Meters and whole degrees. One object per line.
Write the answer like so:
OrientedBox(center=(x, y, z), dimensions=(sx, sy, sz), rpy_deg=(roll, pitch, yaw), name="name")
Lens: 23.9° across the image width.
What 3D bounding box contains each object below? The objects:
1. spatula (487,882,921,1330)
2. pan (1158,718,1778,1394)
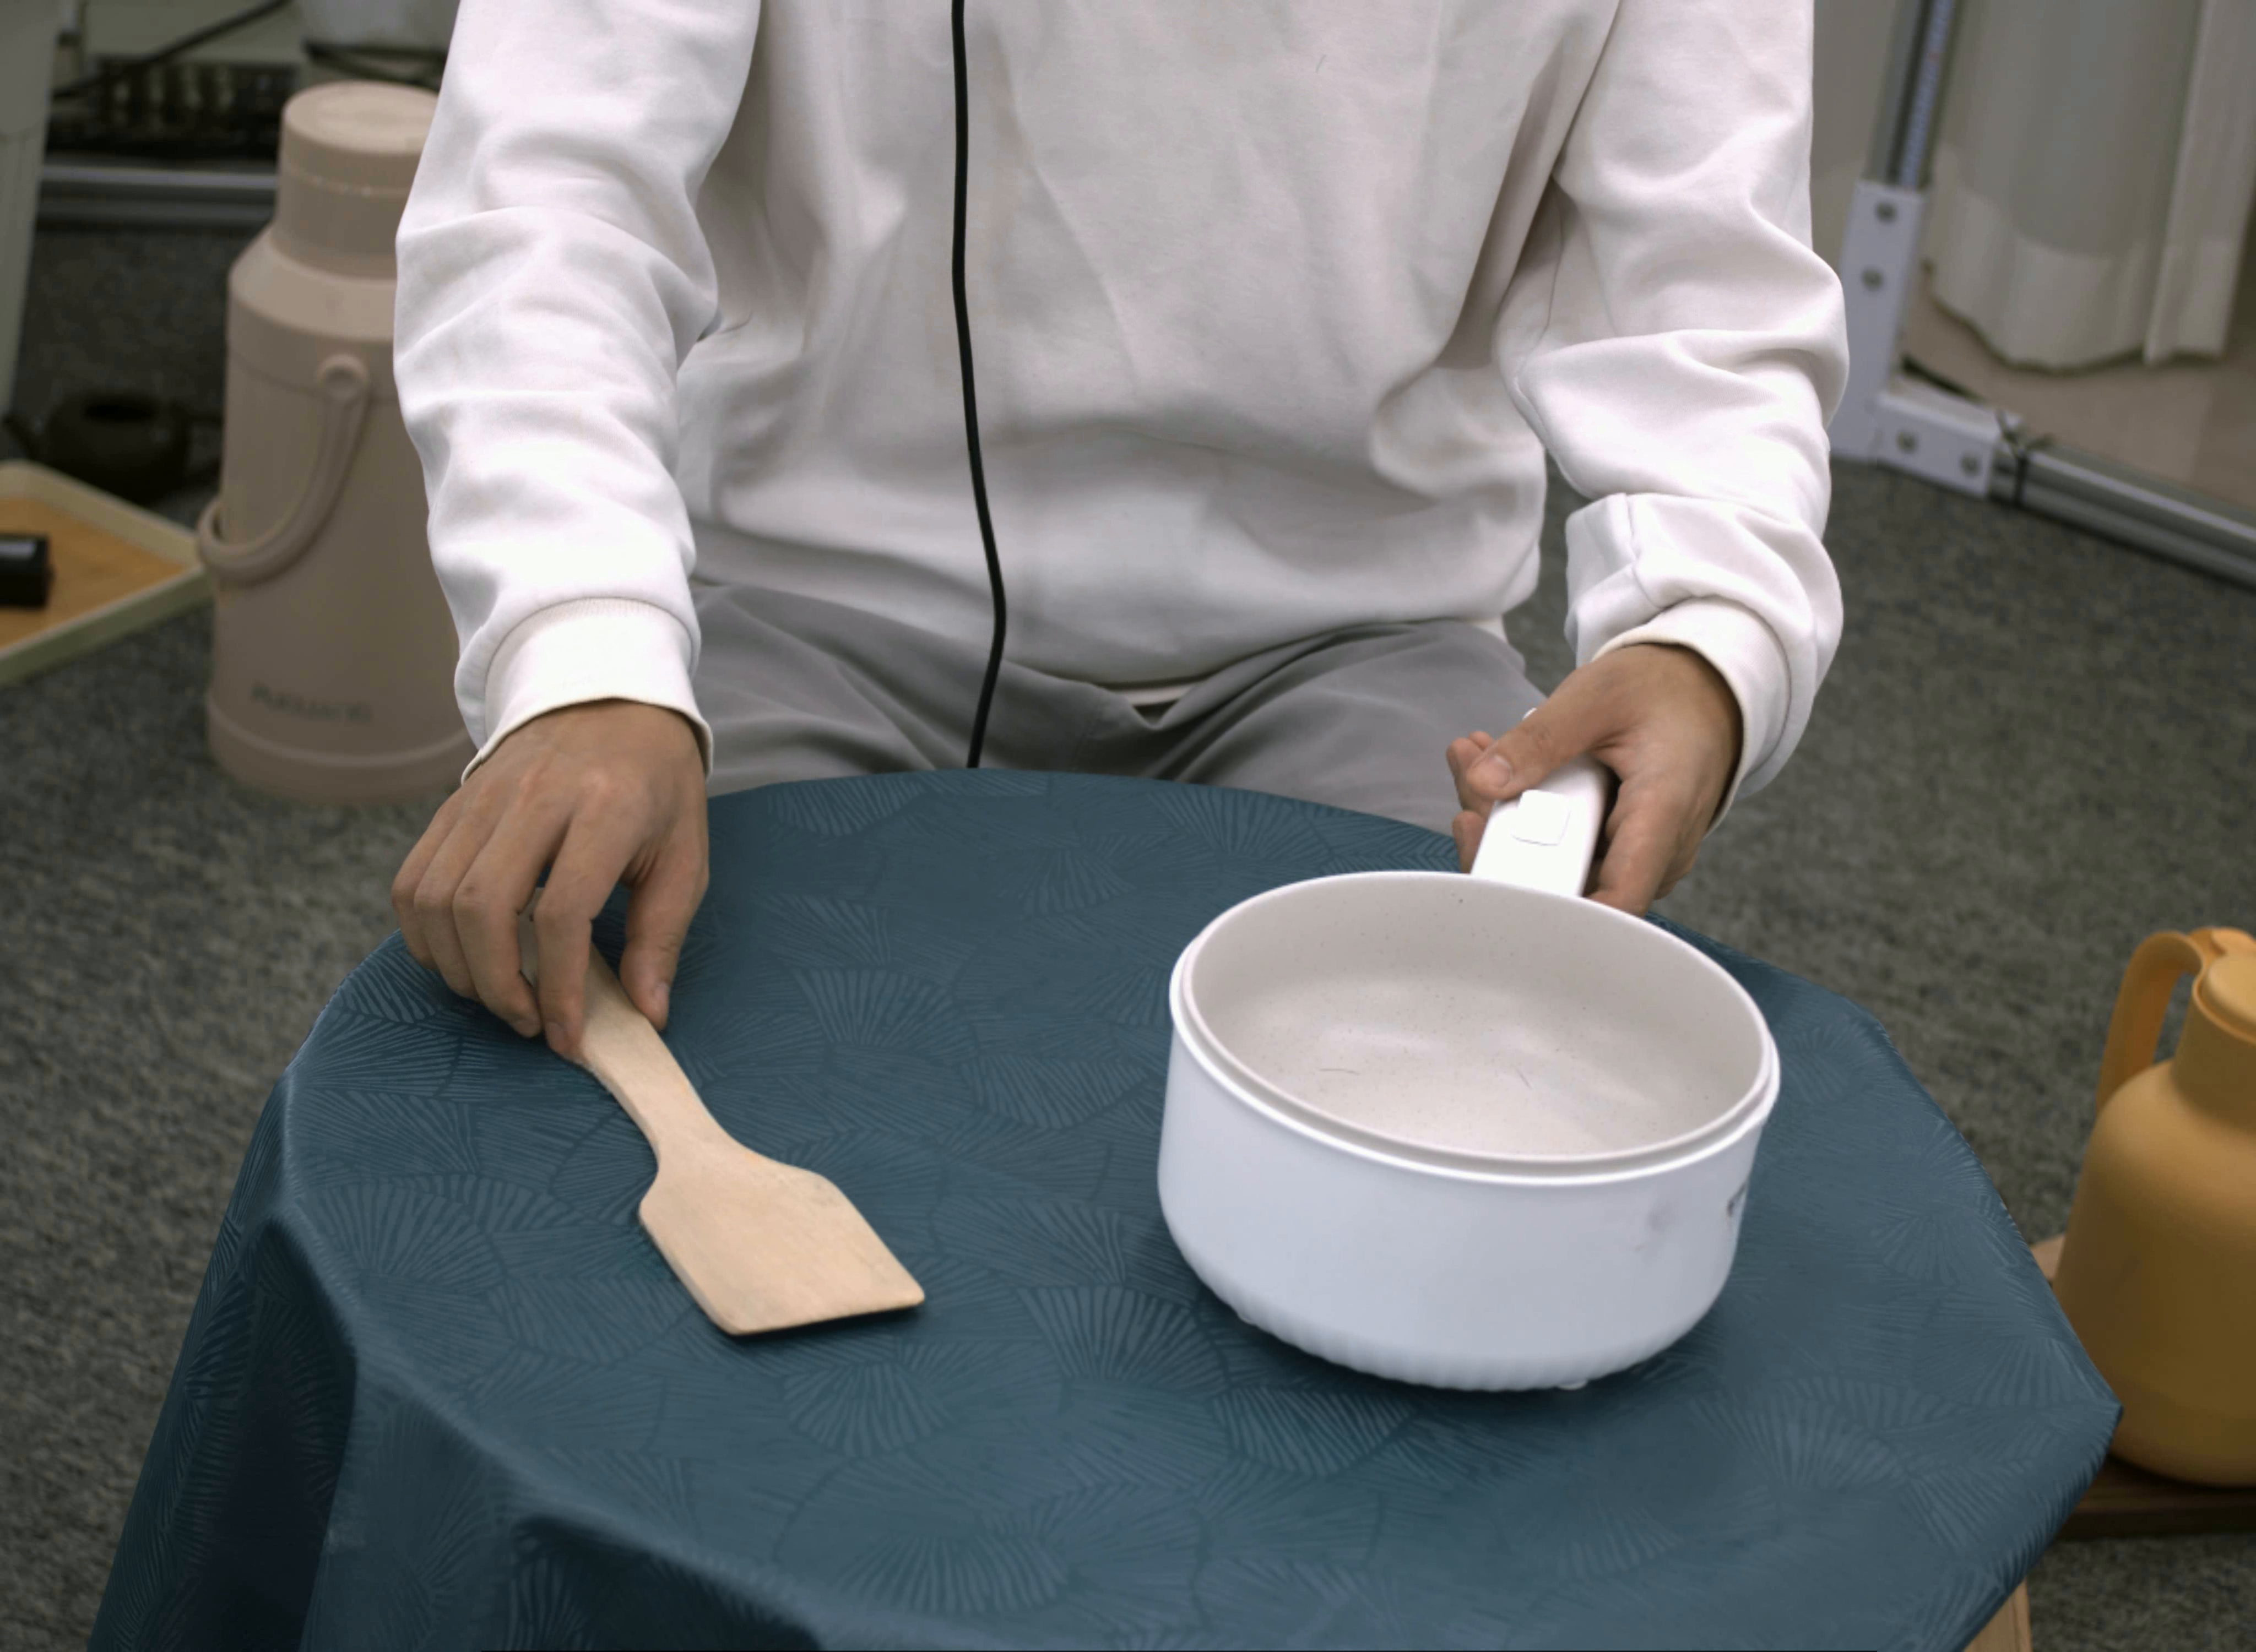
OrientedBox(center=(-0.160, 0.091, 1.820), dimensions=(0.072, 0.010, 0.296), rpy_deg=(-8, 31, -25), name="spatula")
OrientedBox(center=(0.124, 0.075, 1.828), dimensions=(0.201, 0.102, 0.356), rpy_deg=(10, 25, 8), name="pan")
